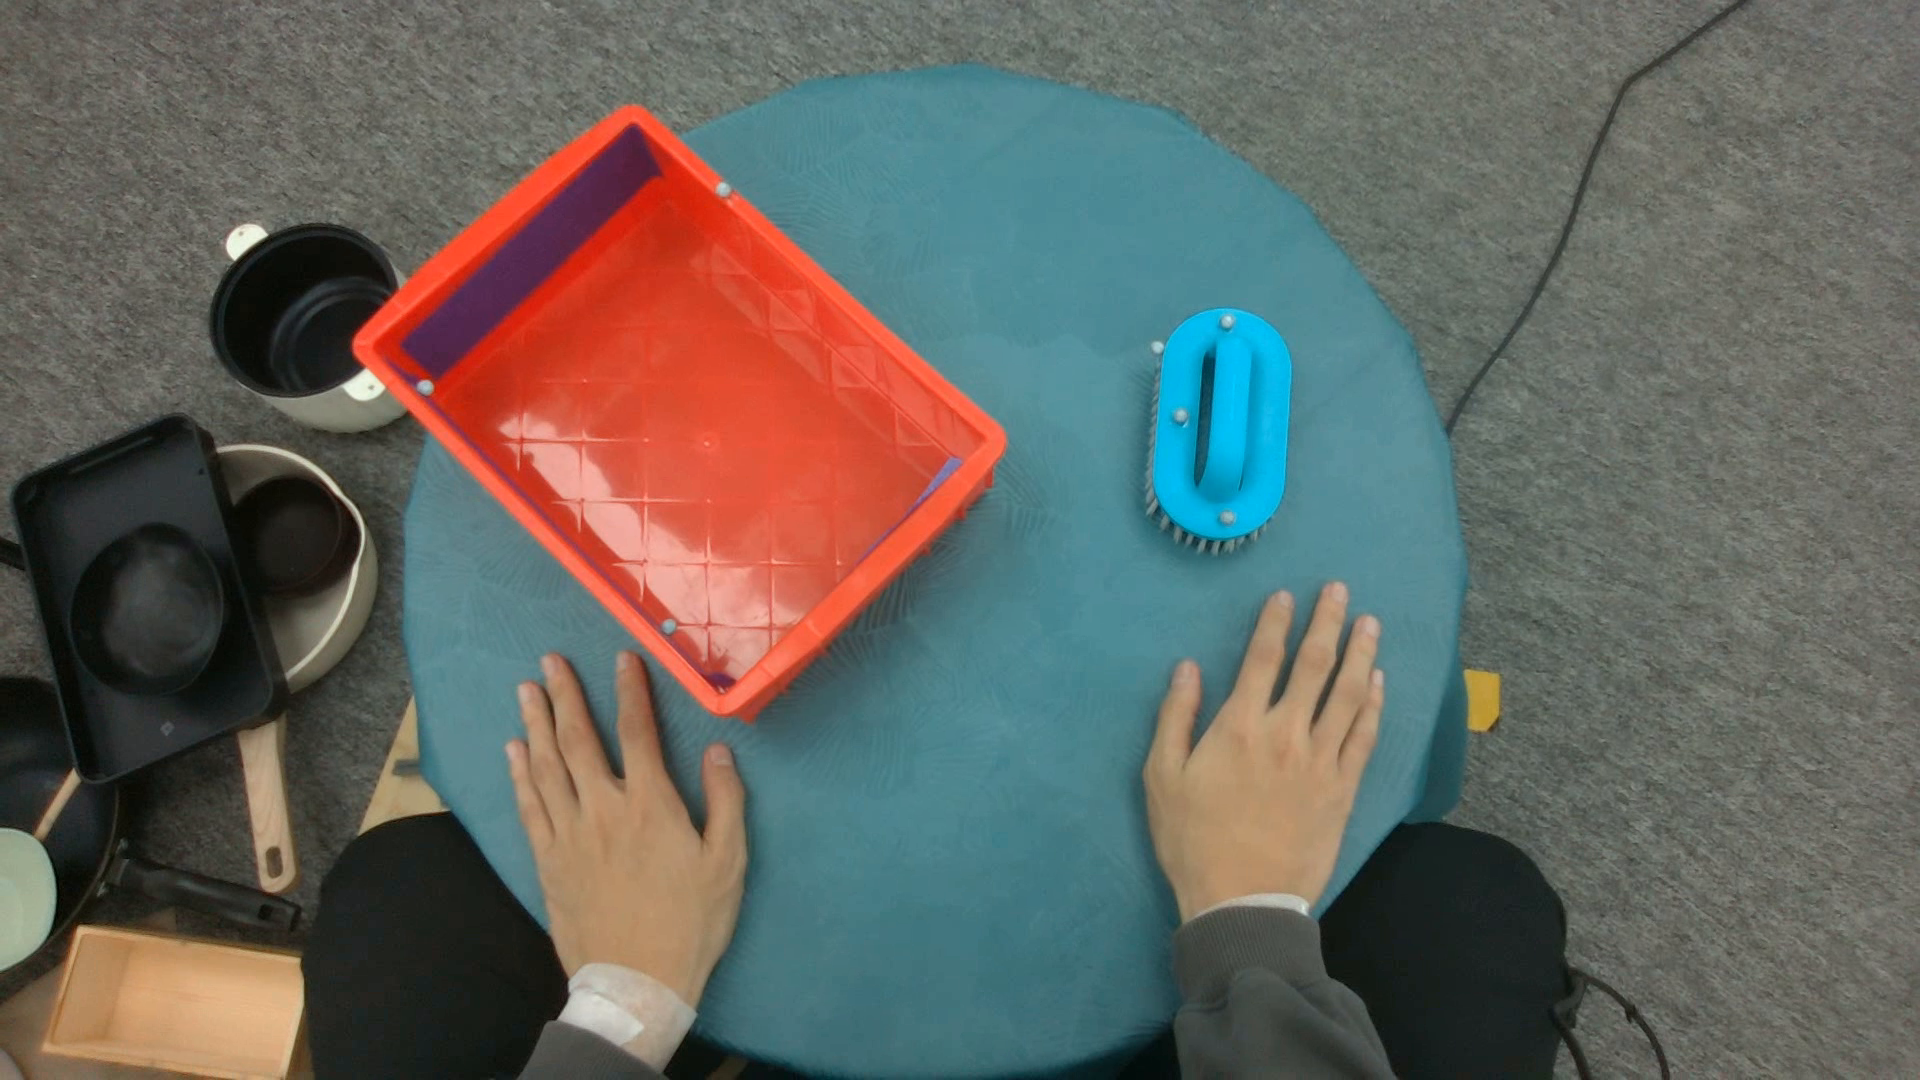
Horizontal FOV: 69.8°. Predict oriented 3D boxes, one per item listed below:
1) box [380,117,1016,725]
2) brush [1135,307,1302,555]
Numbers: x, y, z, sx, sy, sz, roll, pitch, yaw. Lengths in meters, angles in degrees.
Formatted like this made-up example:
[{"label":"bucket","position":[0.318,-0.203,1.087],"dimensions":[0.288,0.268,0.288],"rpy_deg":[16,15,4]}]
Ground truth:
[{"label":"box","position":[-0.140,-0.064,0.772],"dimensions":[0.207,0.096,0.304],"rpy_deg":[-44,76,-10]},{"label":"brush","position":[0.148,-0.066,0.771],"dimensions":[0.084,0.063,0.142],"rpy_deg":[9,75,0]}]
